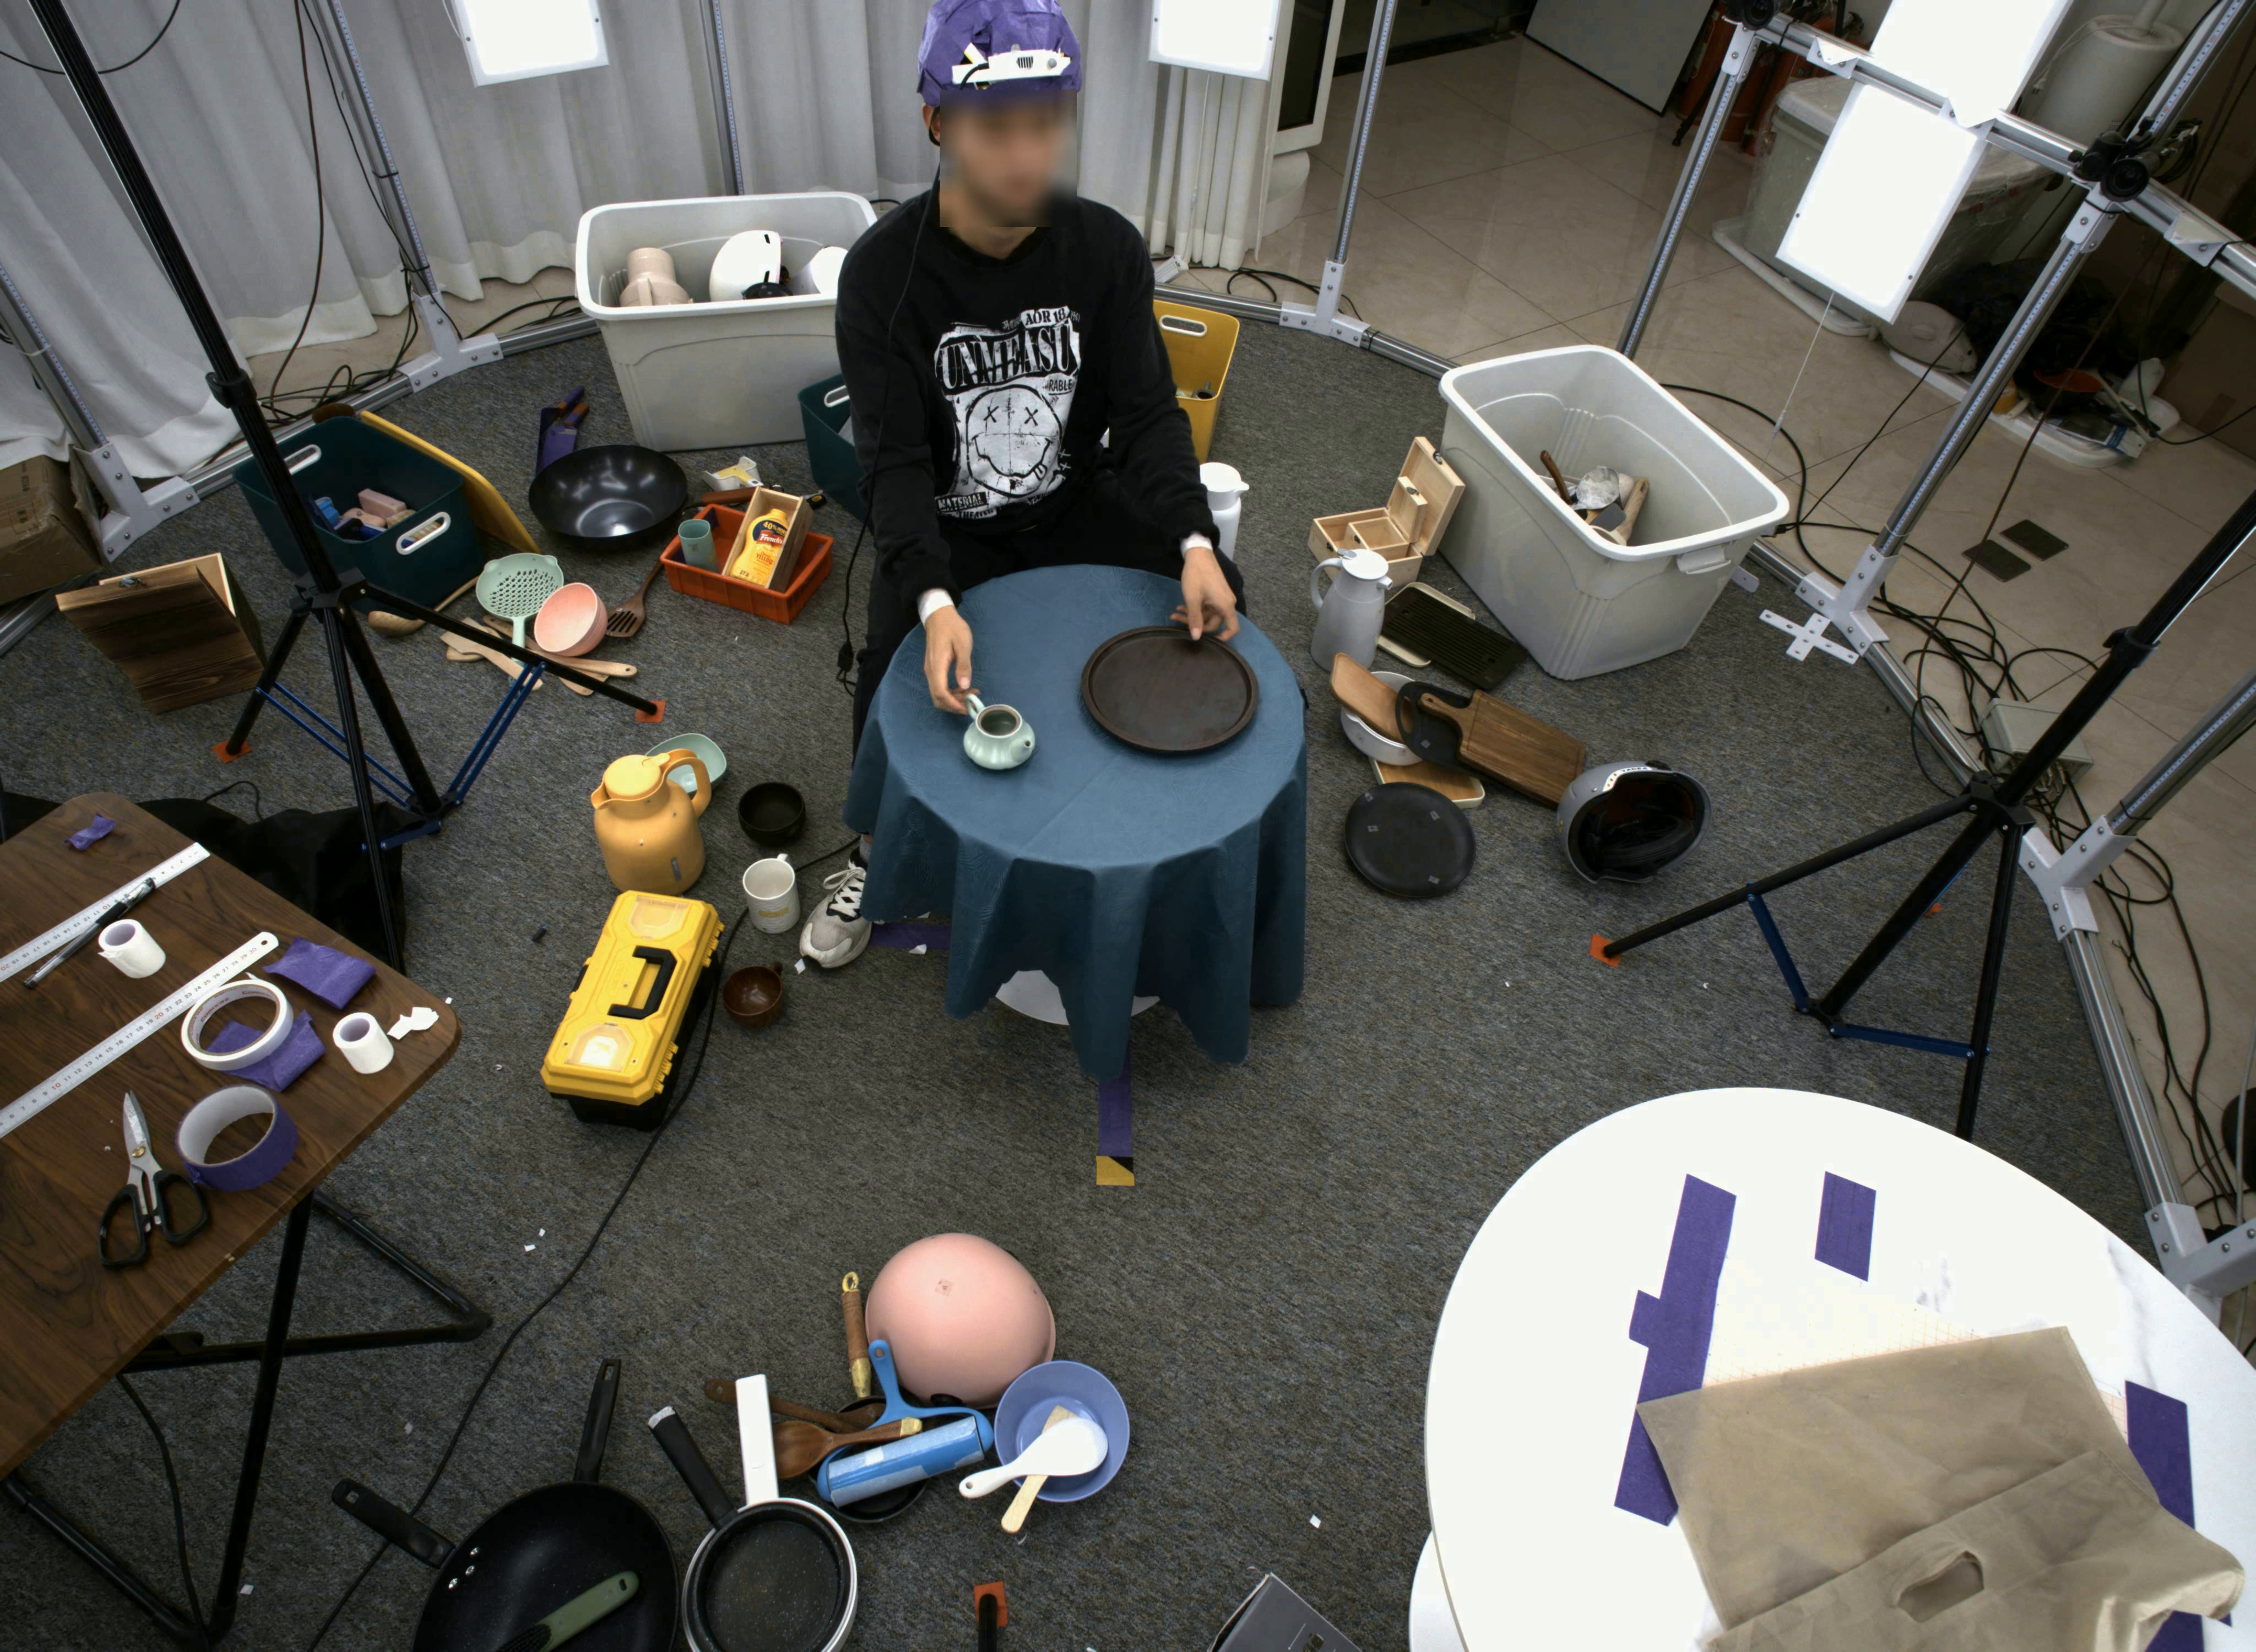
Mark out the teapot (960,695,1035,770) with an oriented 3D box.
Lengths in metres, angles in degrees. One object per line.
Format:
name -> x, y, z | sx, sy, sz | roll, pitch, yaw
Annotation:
teapot -> -0.176, -0.125, 1.728 | 0.139, 0.060, 0.097 | 38, 58, 25

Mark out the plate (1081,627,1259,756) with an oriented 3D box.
plate -> 0.060, -0.194, 1.825 | 0.254, 0.028, 0.261 | 1, 50, -2
